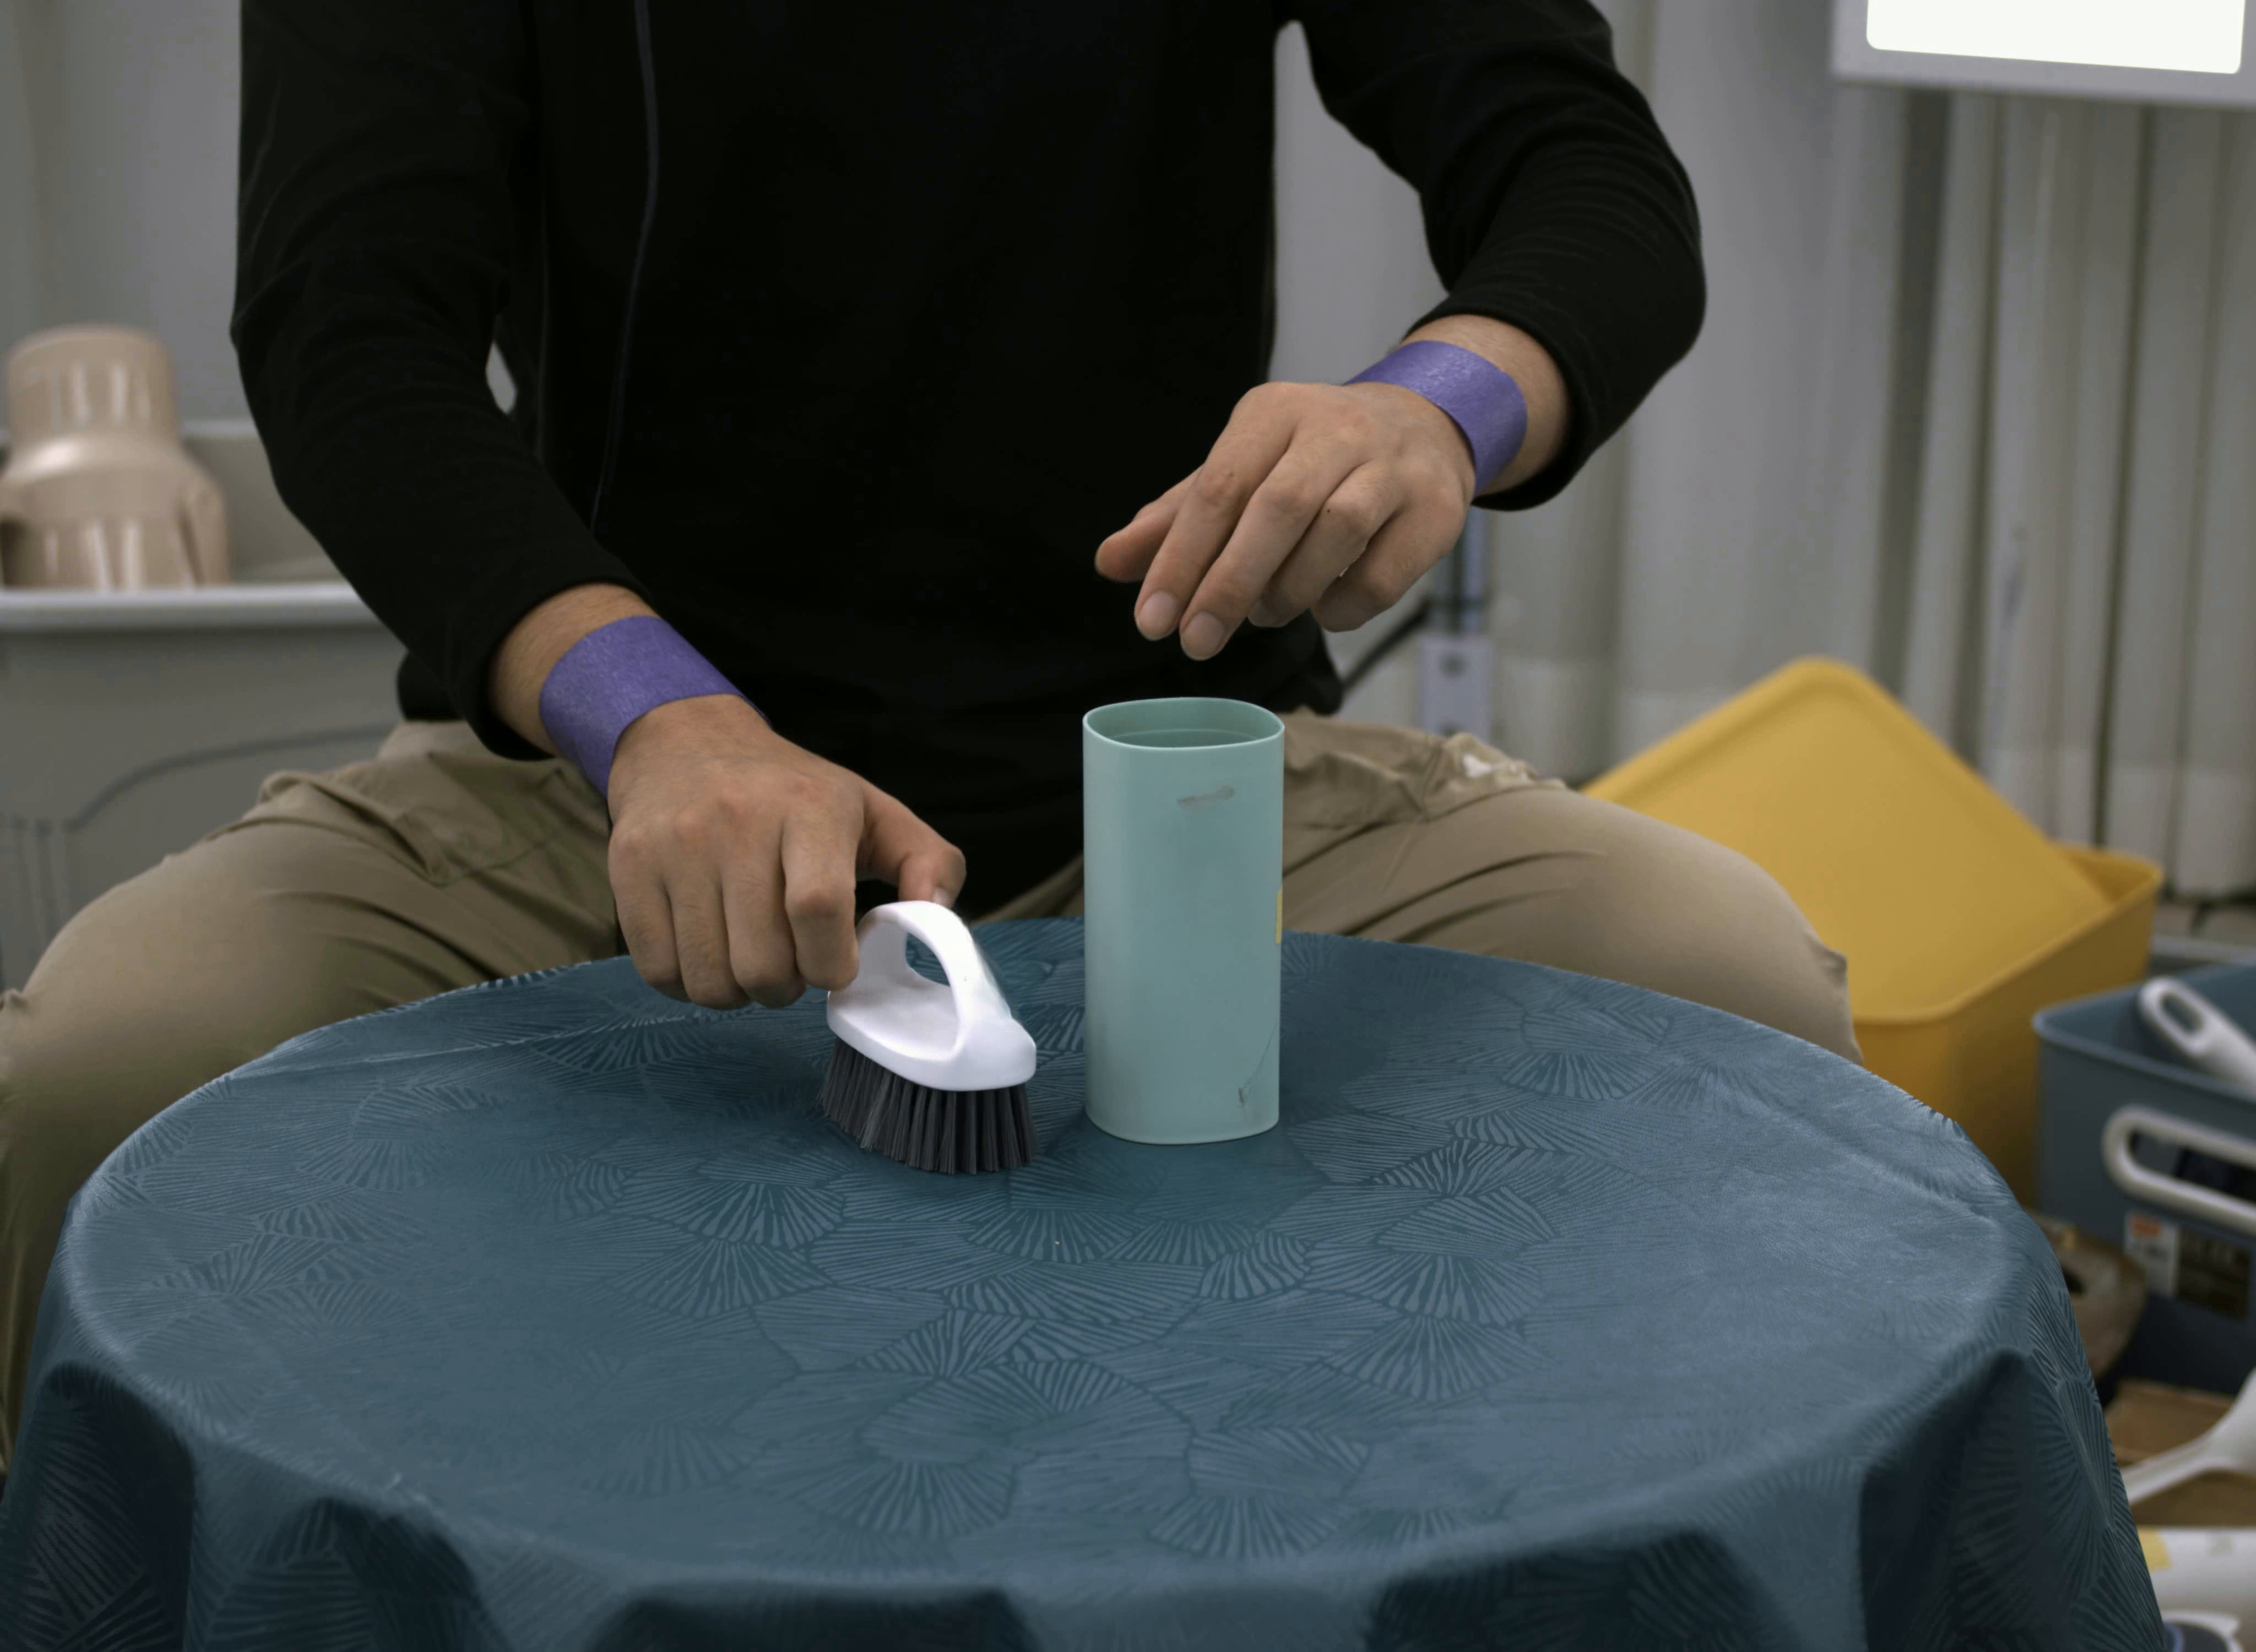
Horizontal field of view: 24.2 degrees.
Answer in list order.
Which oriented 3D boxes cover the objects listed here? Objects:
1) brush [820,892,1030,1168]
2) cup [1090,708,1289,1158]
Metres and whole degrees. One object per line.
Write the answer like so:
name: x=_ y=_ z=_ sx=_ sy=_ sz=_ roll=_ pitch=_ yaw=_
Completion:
brush: x=-0.064 y=0.059 z=1.667 sx=0.050 sy=0.073 sz=0.098 roll=-6 pitch=19 yaw=-26
cup: x=0.018 y=0.033 z=1.676 sx=0.066 sy=0.133 sz=0.066 roll=0 pitch=17 yaw=0
